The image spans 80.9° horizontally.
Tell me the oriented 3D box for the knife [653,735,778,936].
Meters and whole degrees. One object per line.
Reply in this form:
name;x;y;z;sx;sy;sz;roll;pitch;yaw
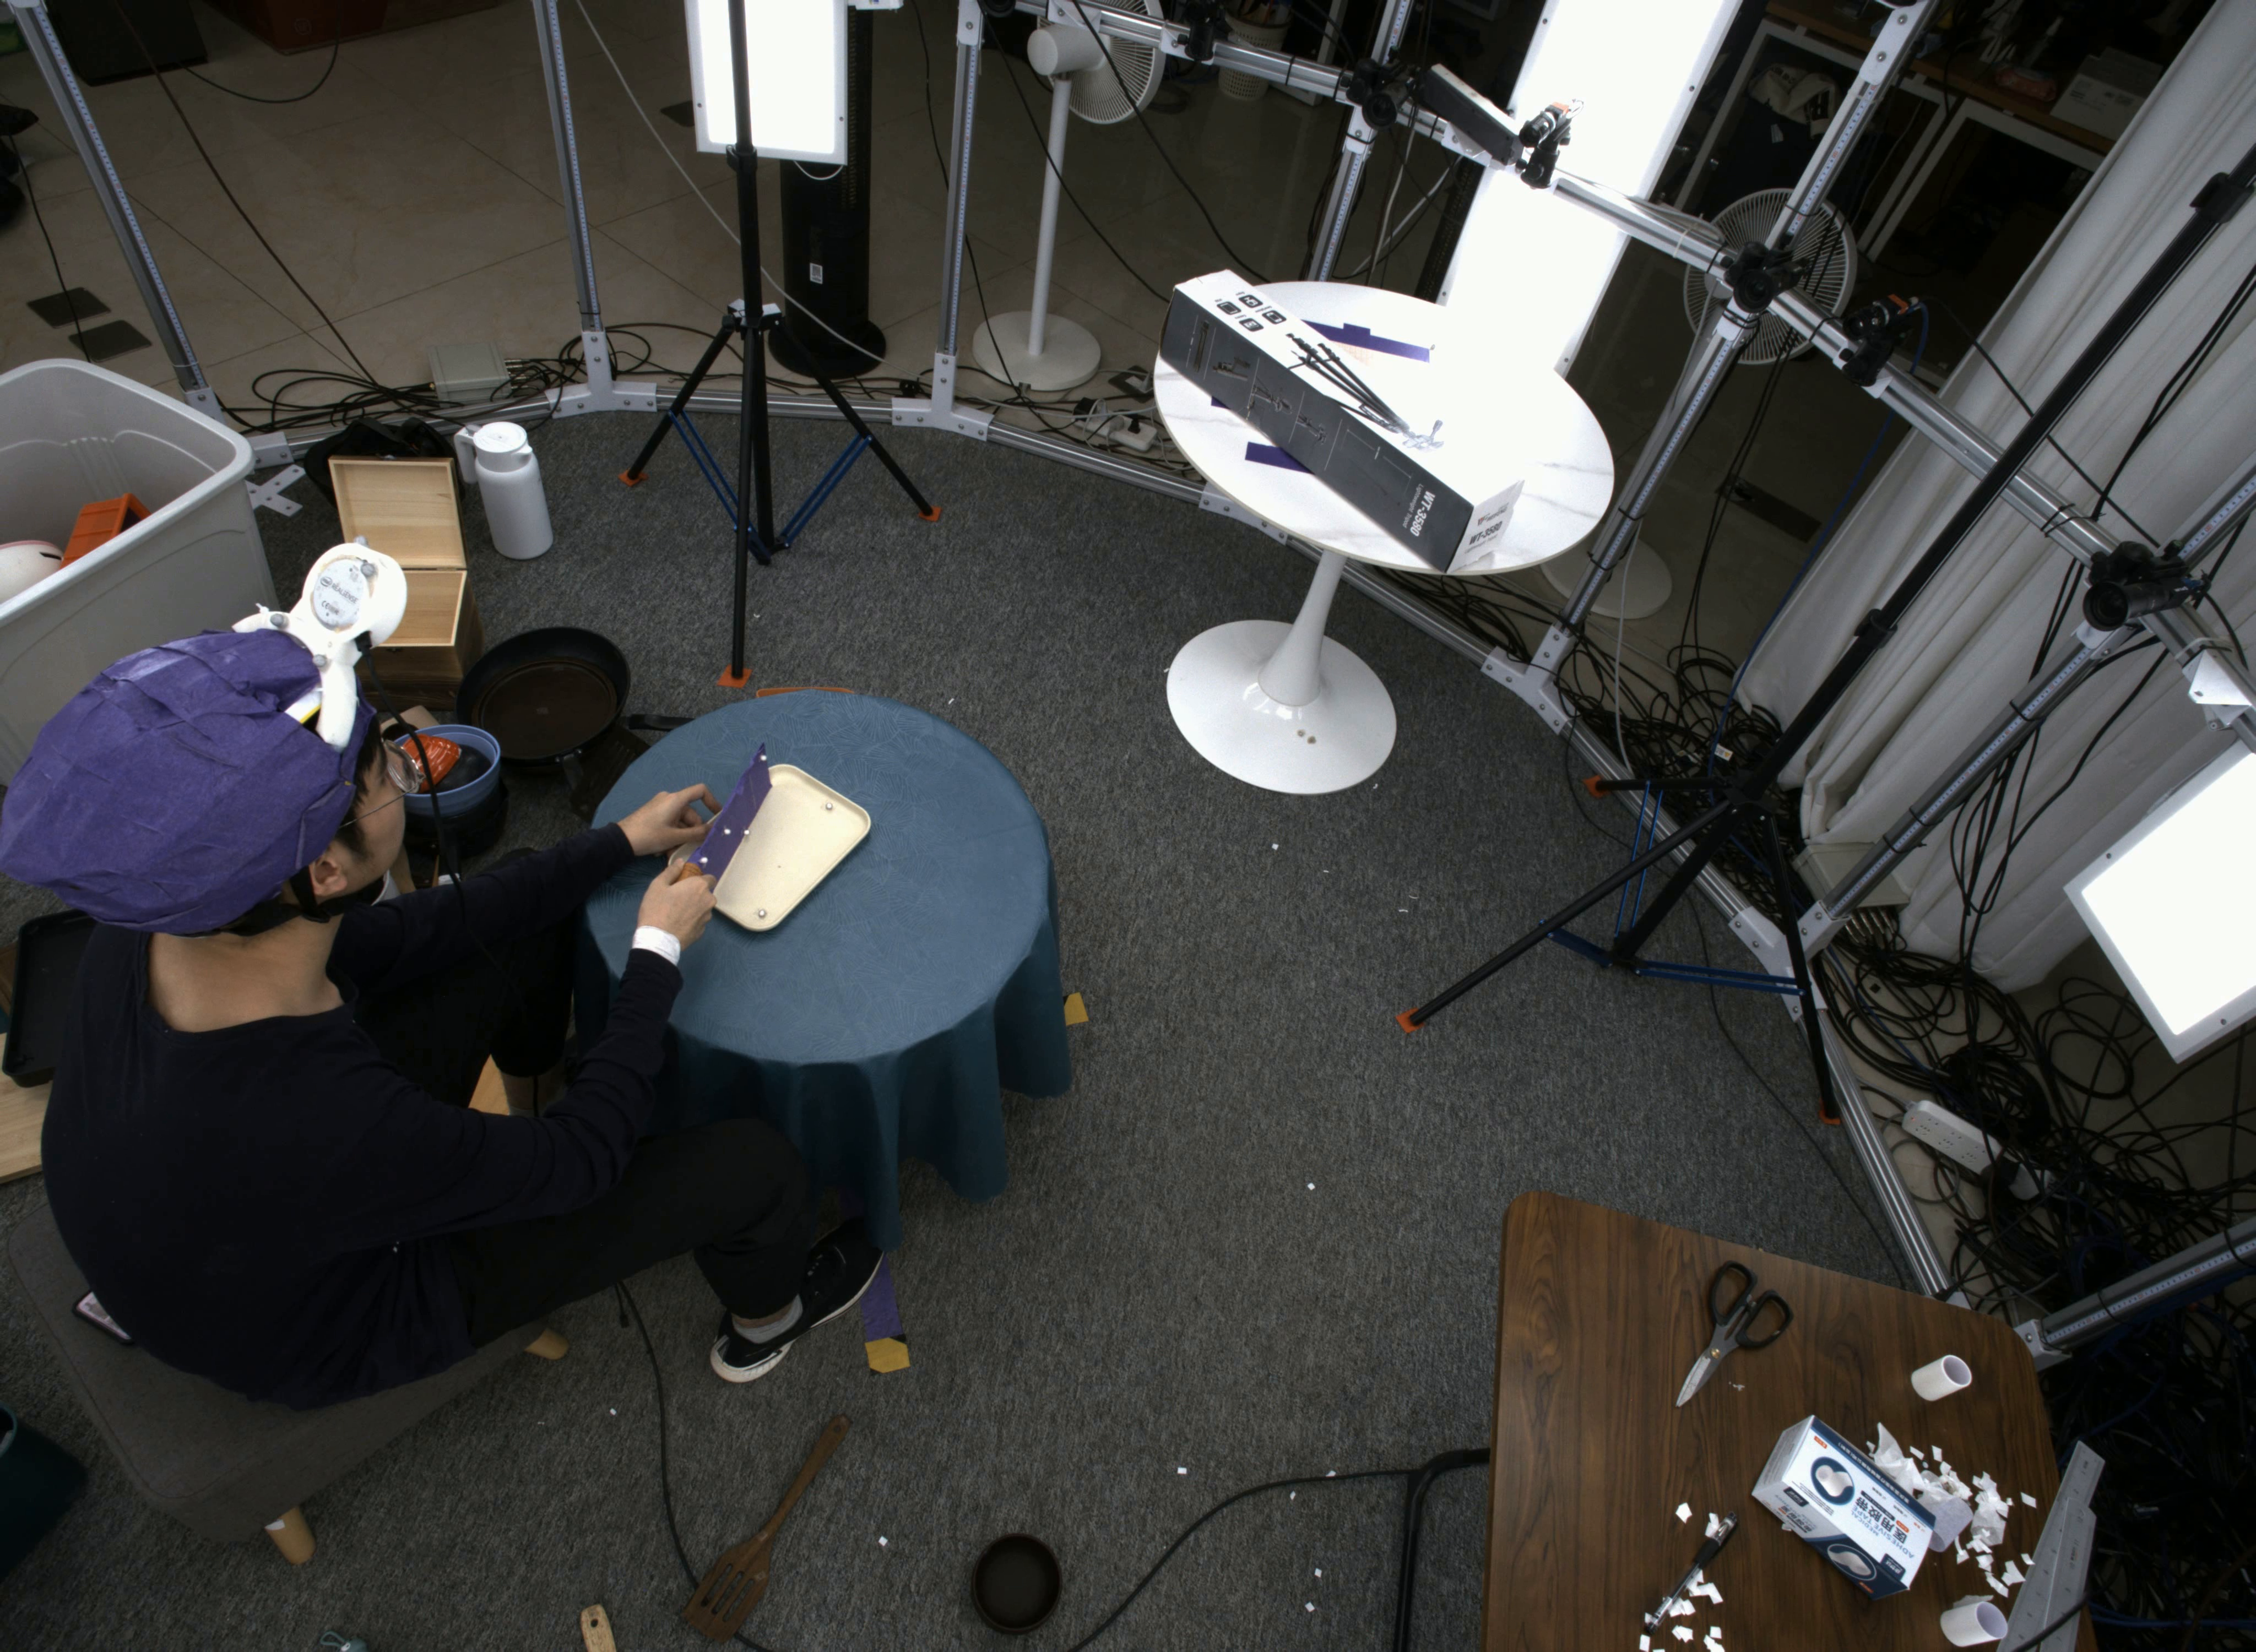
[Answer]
knife;-0.505;0.026;1.618;0.031;0.107;0.311;12;49;8

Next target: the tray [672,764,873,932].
tray;-0.462;0.025;1.693;0.169;0.018;0.239;33;52;7
